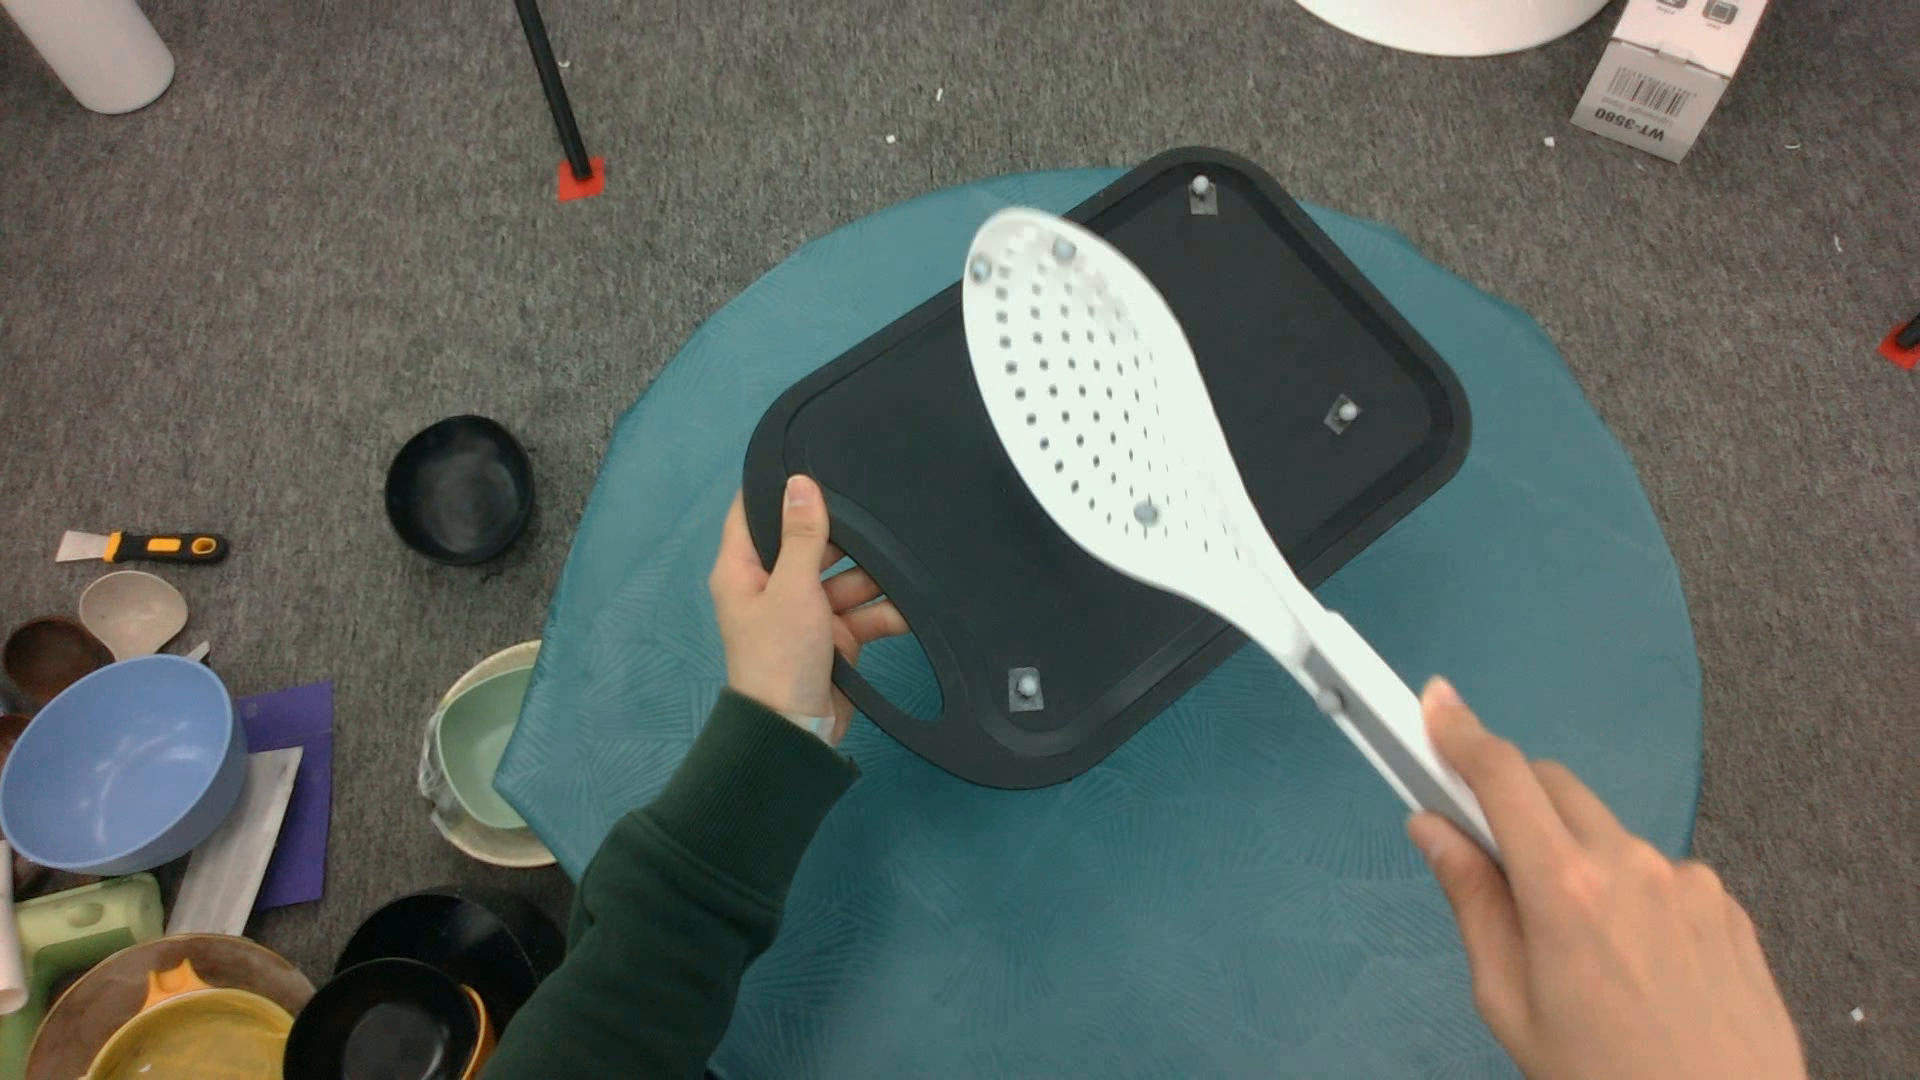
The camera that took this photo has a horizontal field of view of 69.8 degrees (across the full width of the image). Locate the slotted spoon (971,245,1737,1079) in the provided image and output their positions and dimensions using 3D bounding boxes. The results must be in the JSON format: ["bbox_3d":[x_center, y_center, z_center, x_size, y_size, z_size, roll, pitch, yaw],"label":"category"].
[{"bbox_3d":[0.111,0.027,0.461,0.046,0.135,0.350,-24,60,-18],"label":"slotted spoon"}]

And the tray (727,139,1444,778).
[{"bbox_3d":[0.060,-0.046,0.615,0.326,0.010,0.211,-35,80,-20],"label":"tray"}]
